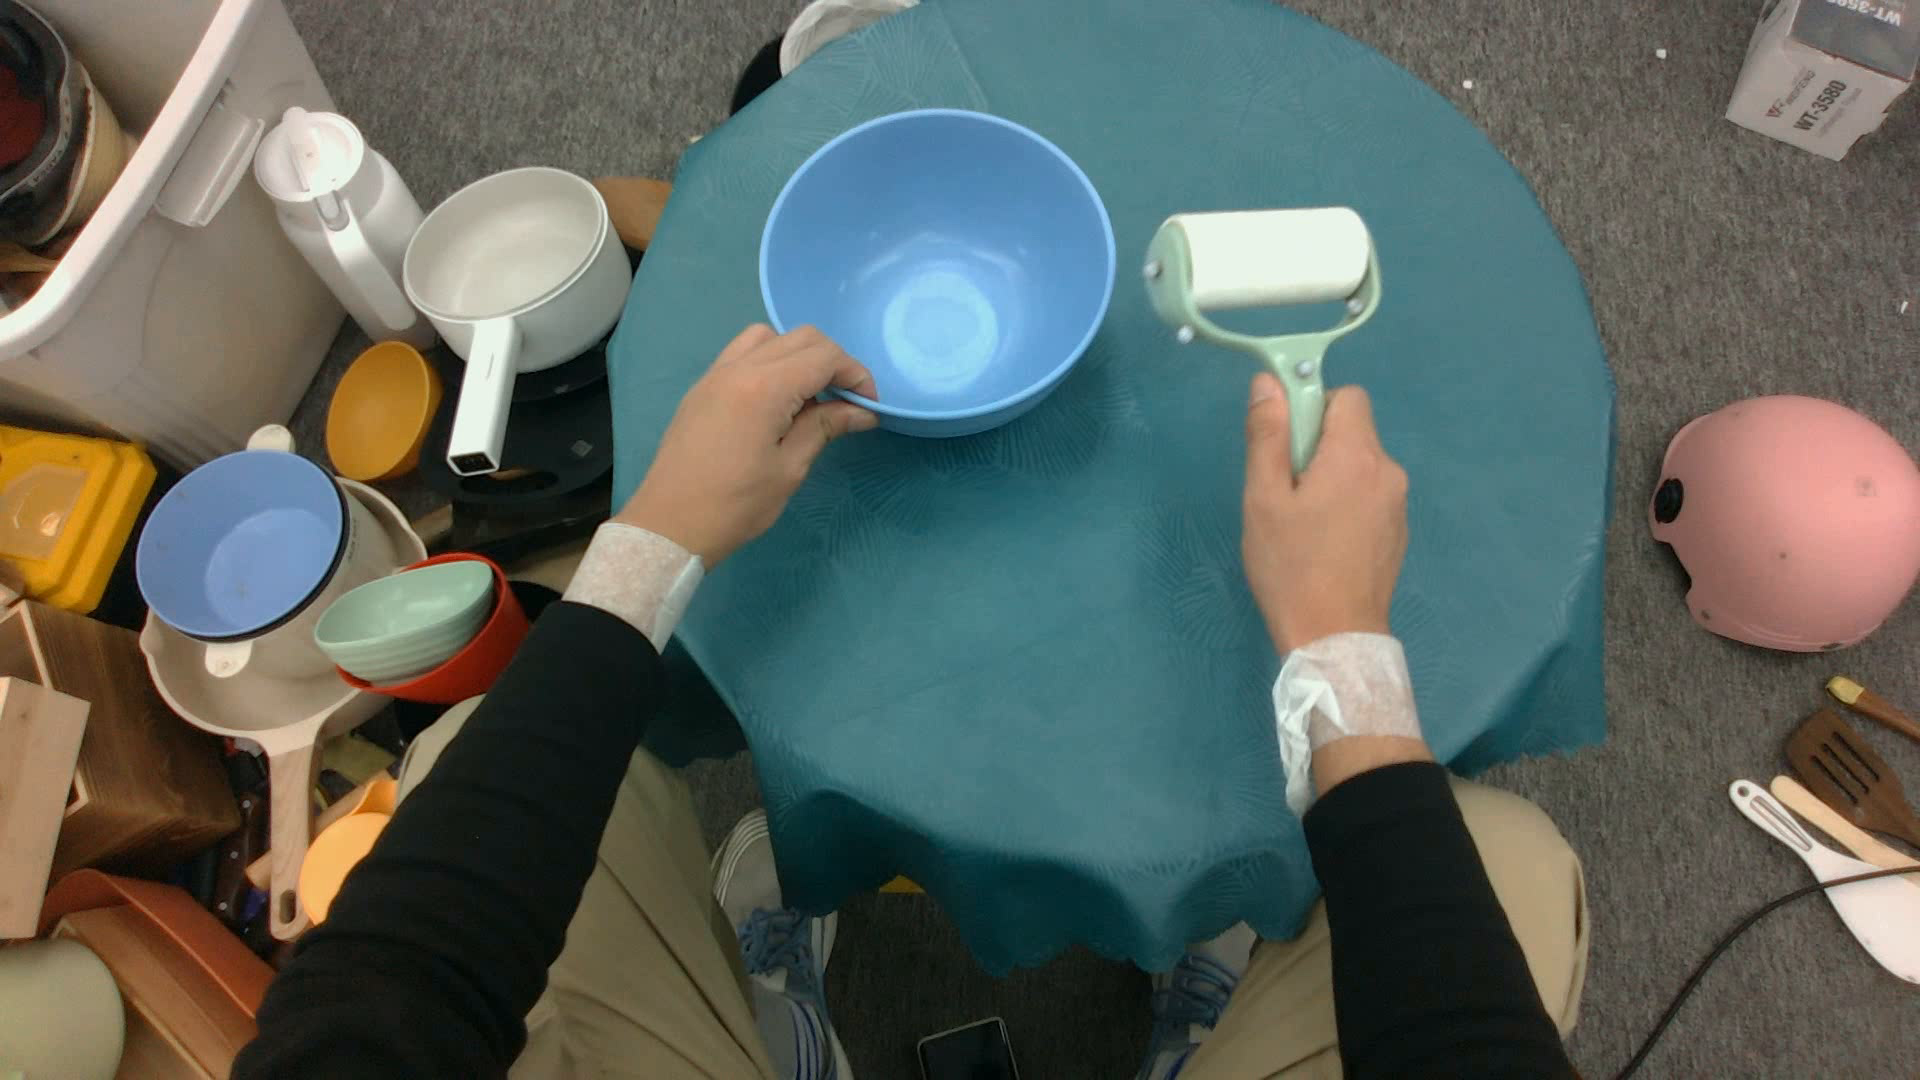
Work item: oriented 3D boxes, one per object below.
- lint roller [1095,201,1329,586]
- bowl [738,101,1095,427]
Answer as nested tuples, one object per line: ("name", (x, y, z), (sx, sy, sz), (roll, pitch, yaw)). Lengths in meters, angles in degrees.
("lint roller", (0.144, -0.074, 0.702), (0.117, 0.048, 0.198), (-11, 82, -20))
("bowl", (-0.024, -0.144, 0.797), (0.196, 0.095, 0.197), (0, 69, -1))
